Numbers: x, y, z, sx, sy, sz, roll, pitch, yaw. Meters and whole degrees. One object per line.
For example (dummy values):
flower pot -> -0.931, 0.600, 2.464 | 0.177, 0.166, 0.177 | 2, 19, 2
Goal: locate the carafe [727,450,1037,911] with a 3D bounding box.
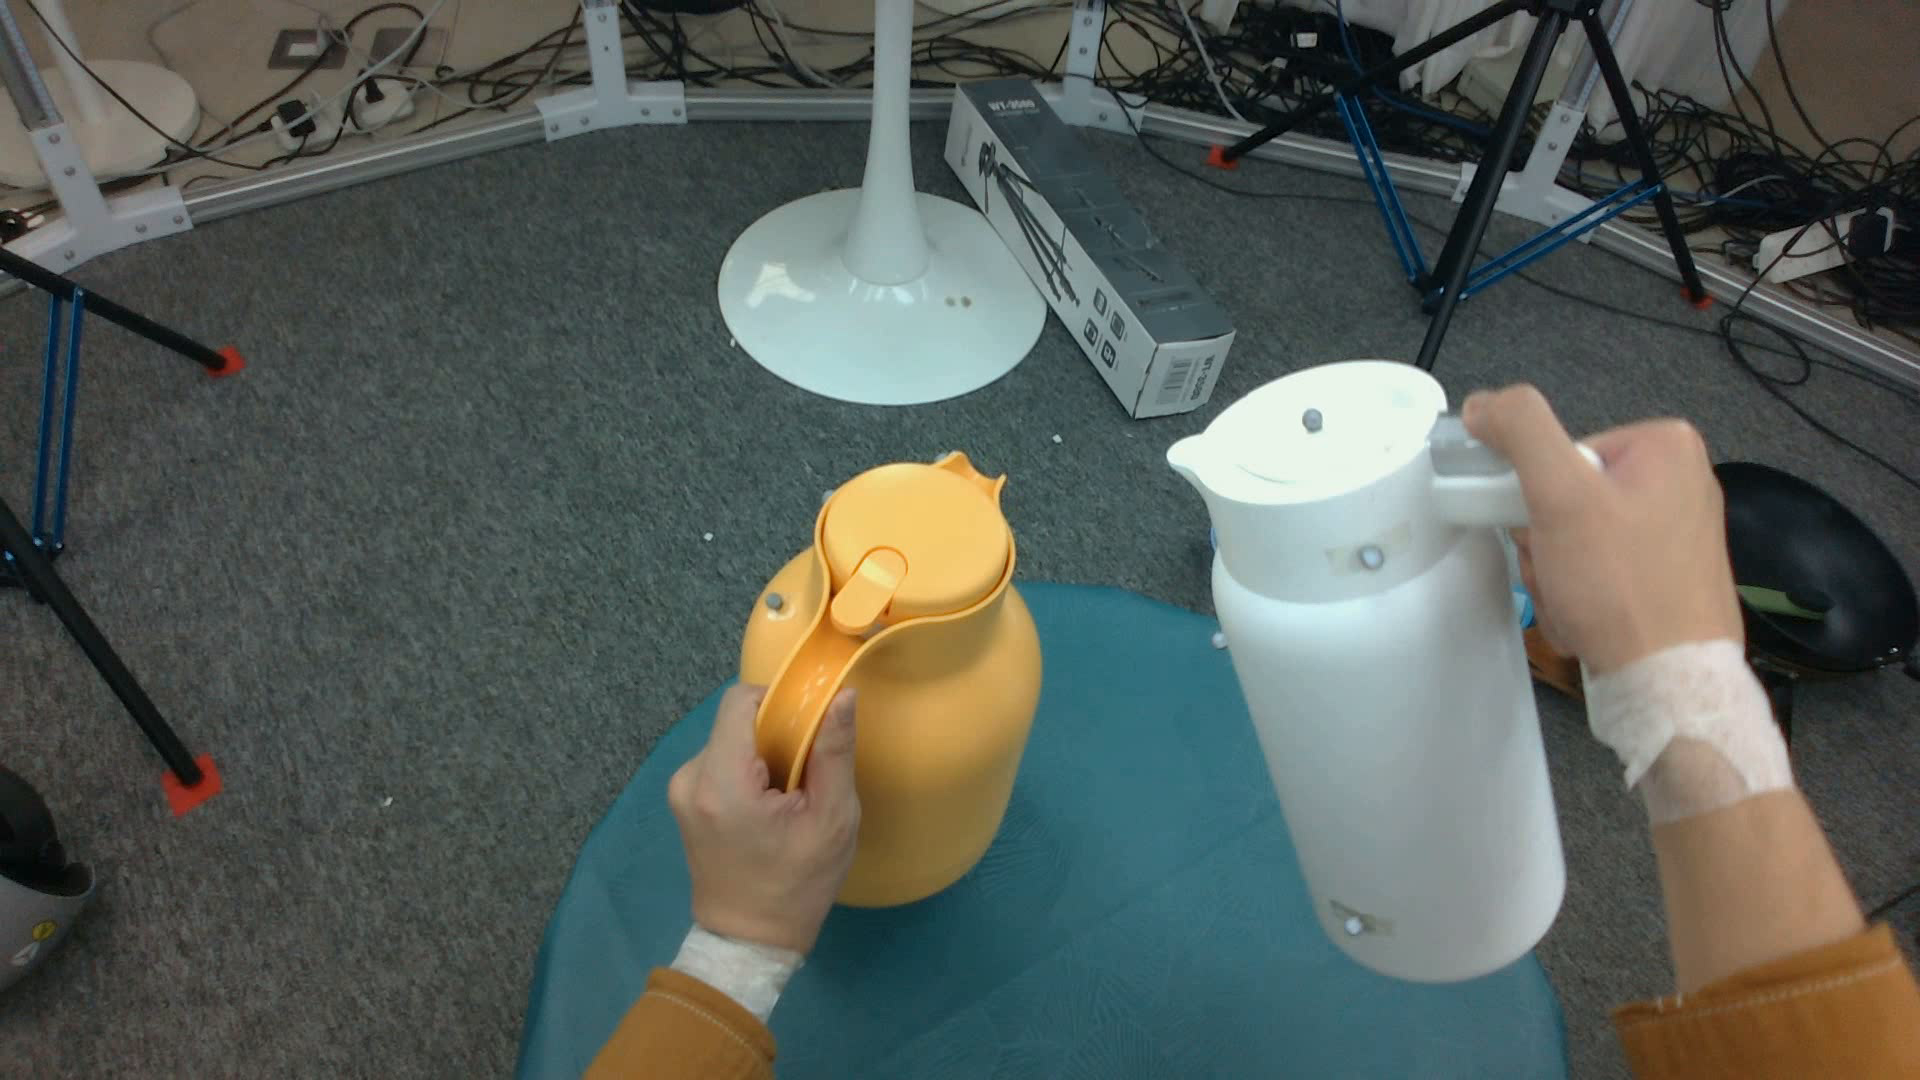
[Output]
carafe -> -0.052, 0.085, 0.729 | 0.163, 0.259, 0.203 | 27, 47, 17

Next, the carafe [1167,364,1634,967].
carafe -> 0.199, 0.062, 0.601 | 0.172, 0.268, 0.124 | 4, 37, 36
